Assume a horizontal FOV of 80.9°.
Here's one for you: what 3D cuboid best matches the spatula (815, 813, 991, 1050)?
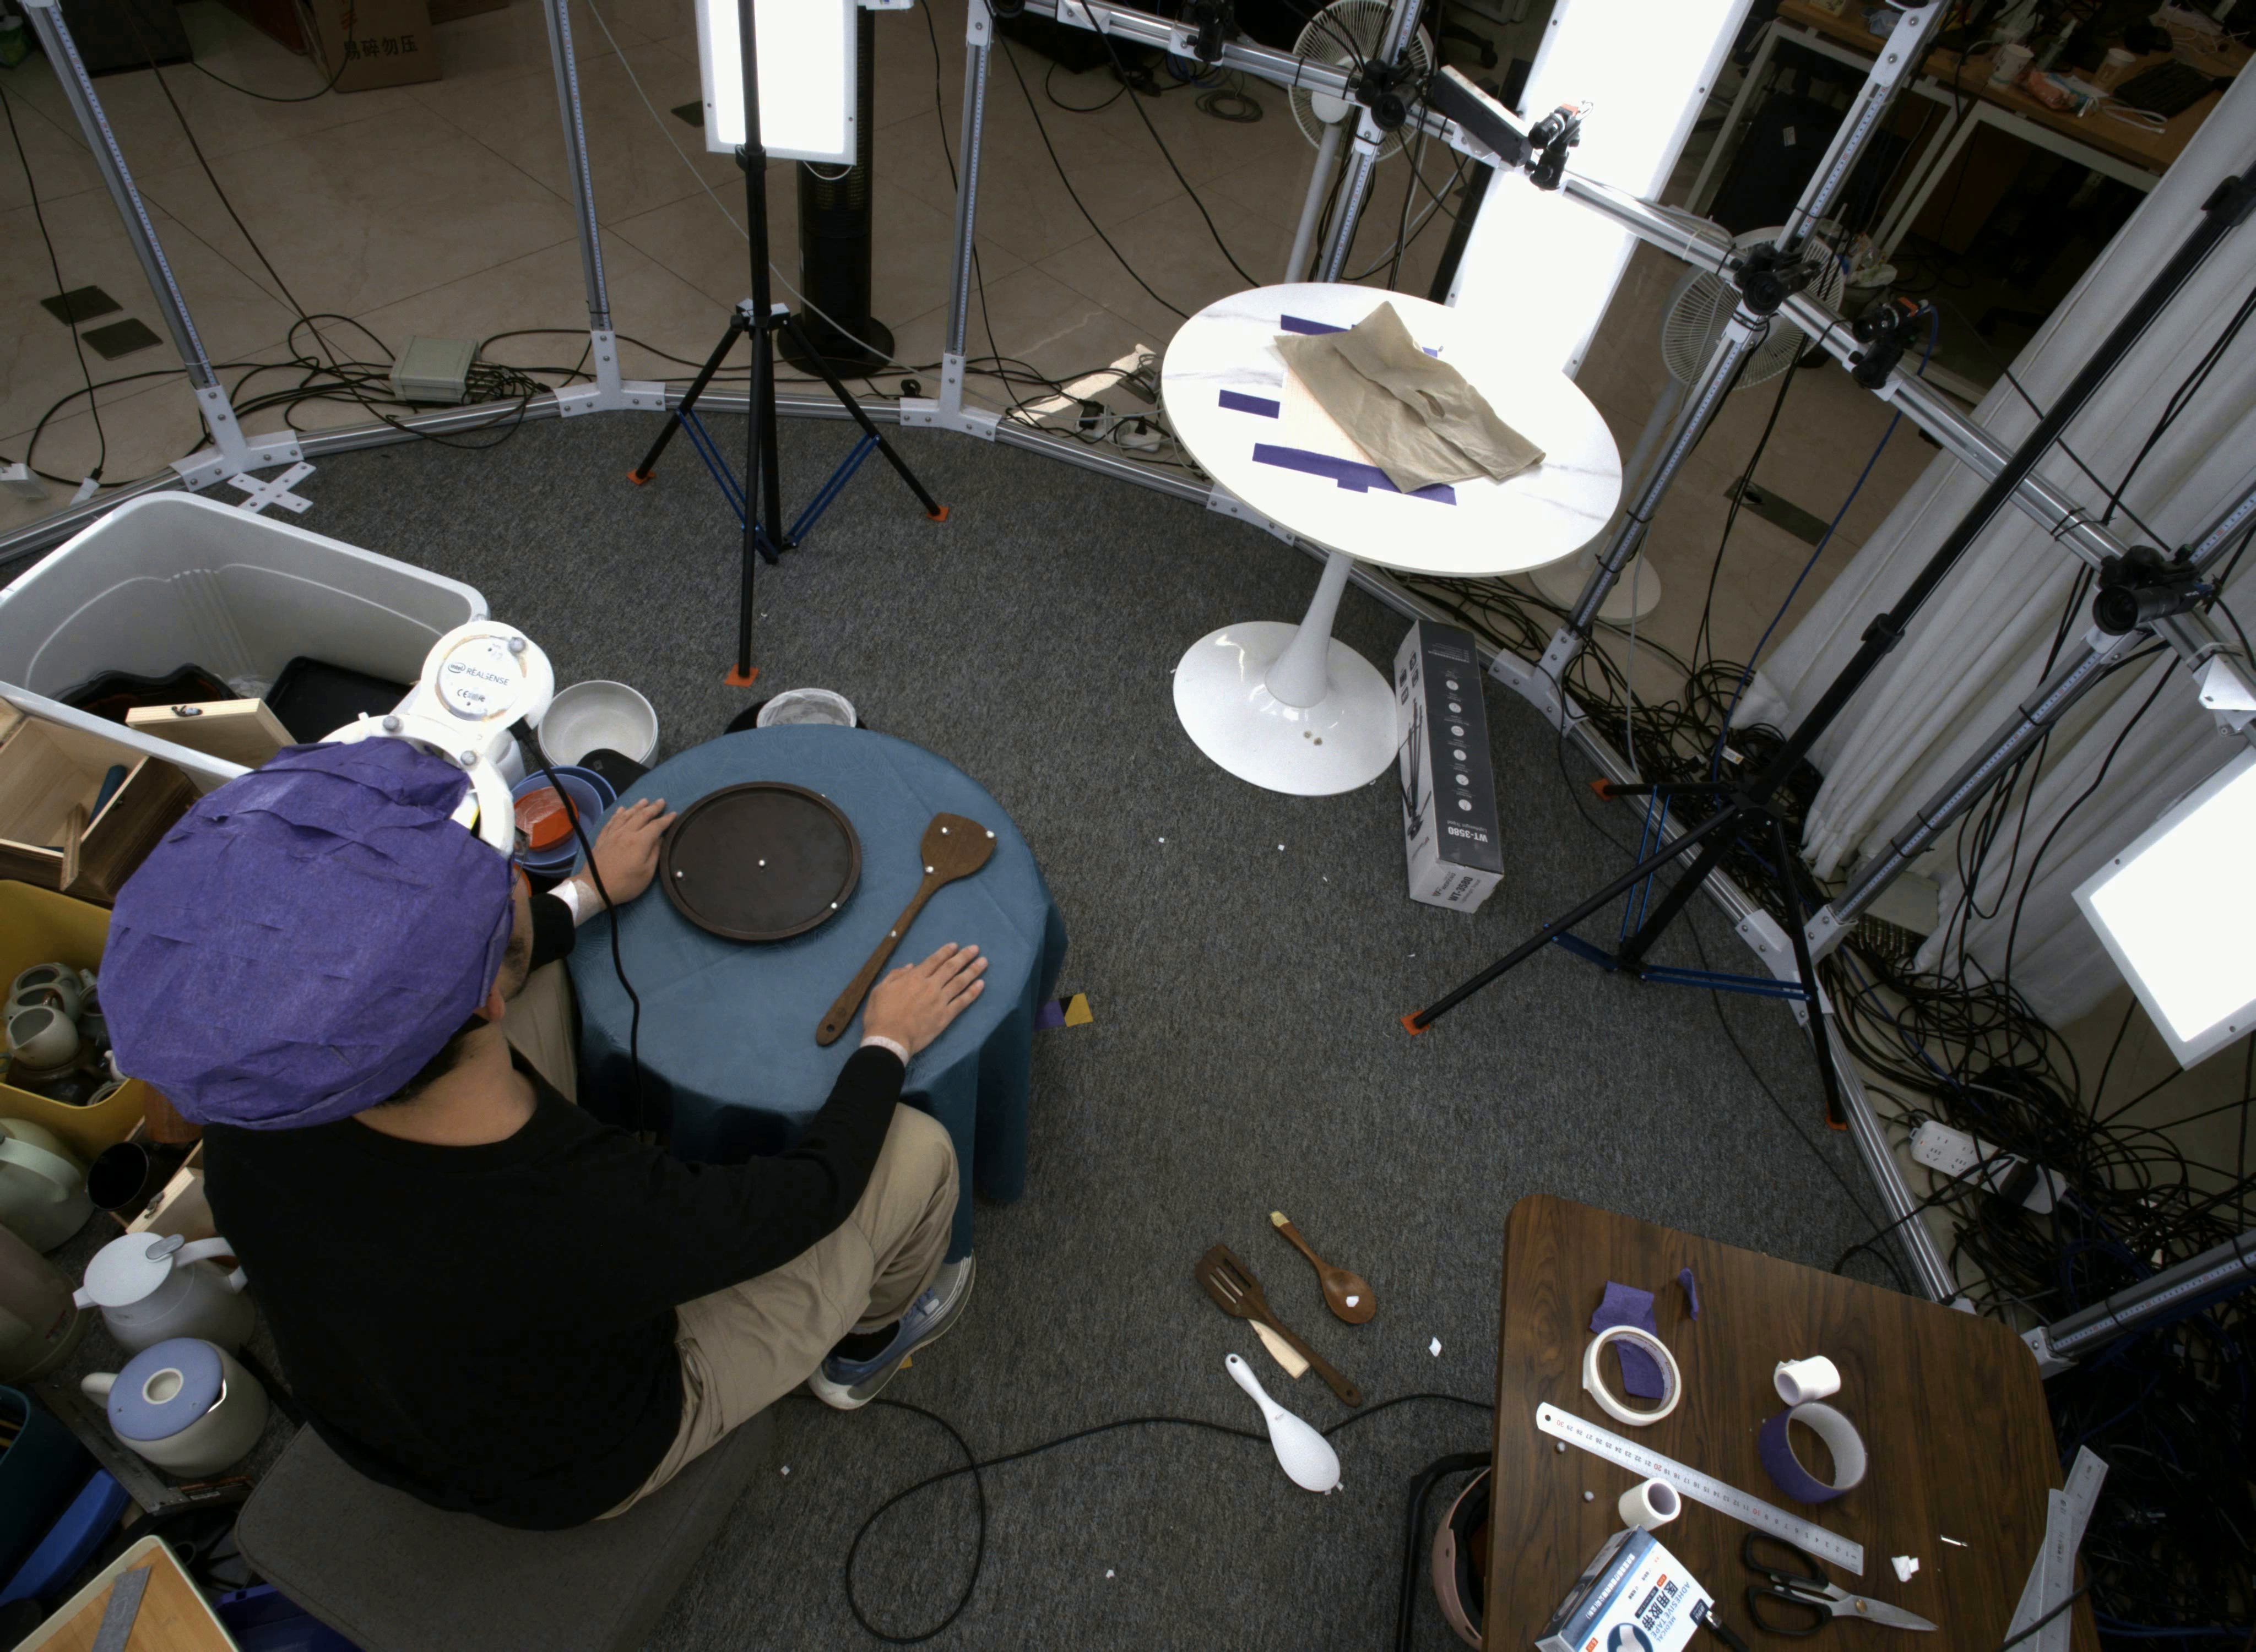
[{"bbox_3d":[-0.292,0.126,1.650,0.095,0.016,0.383,25,52,5],"label":"spatula"}]

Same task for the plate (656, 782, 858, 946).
[{"bbox_3d":[-0.474,0.045,1.657,0.254,0.029,0.250,9,53,-10],"label":"plate"}]
